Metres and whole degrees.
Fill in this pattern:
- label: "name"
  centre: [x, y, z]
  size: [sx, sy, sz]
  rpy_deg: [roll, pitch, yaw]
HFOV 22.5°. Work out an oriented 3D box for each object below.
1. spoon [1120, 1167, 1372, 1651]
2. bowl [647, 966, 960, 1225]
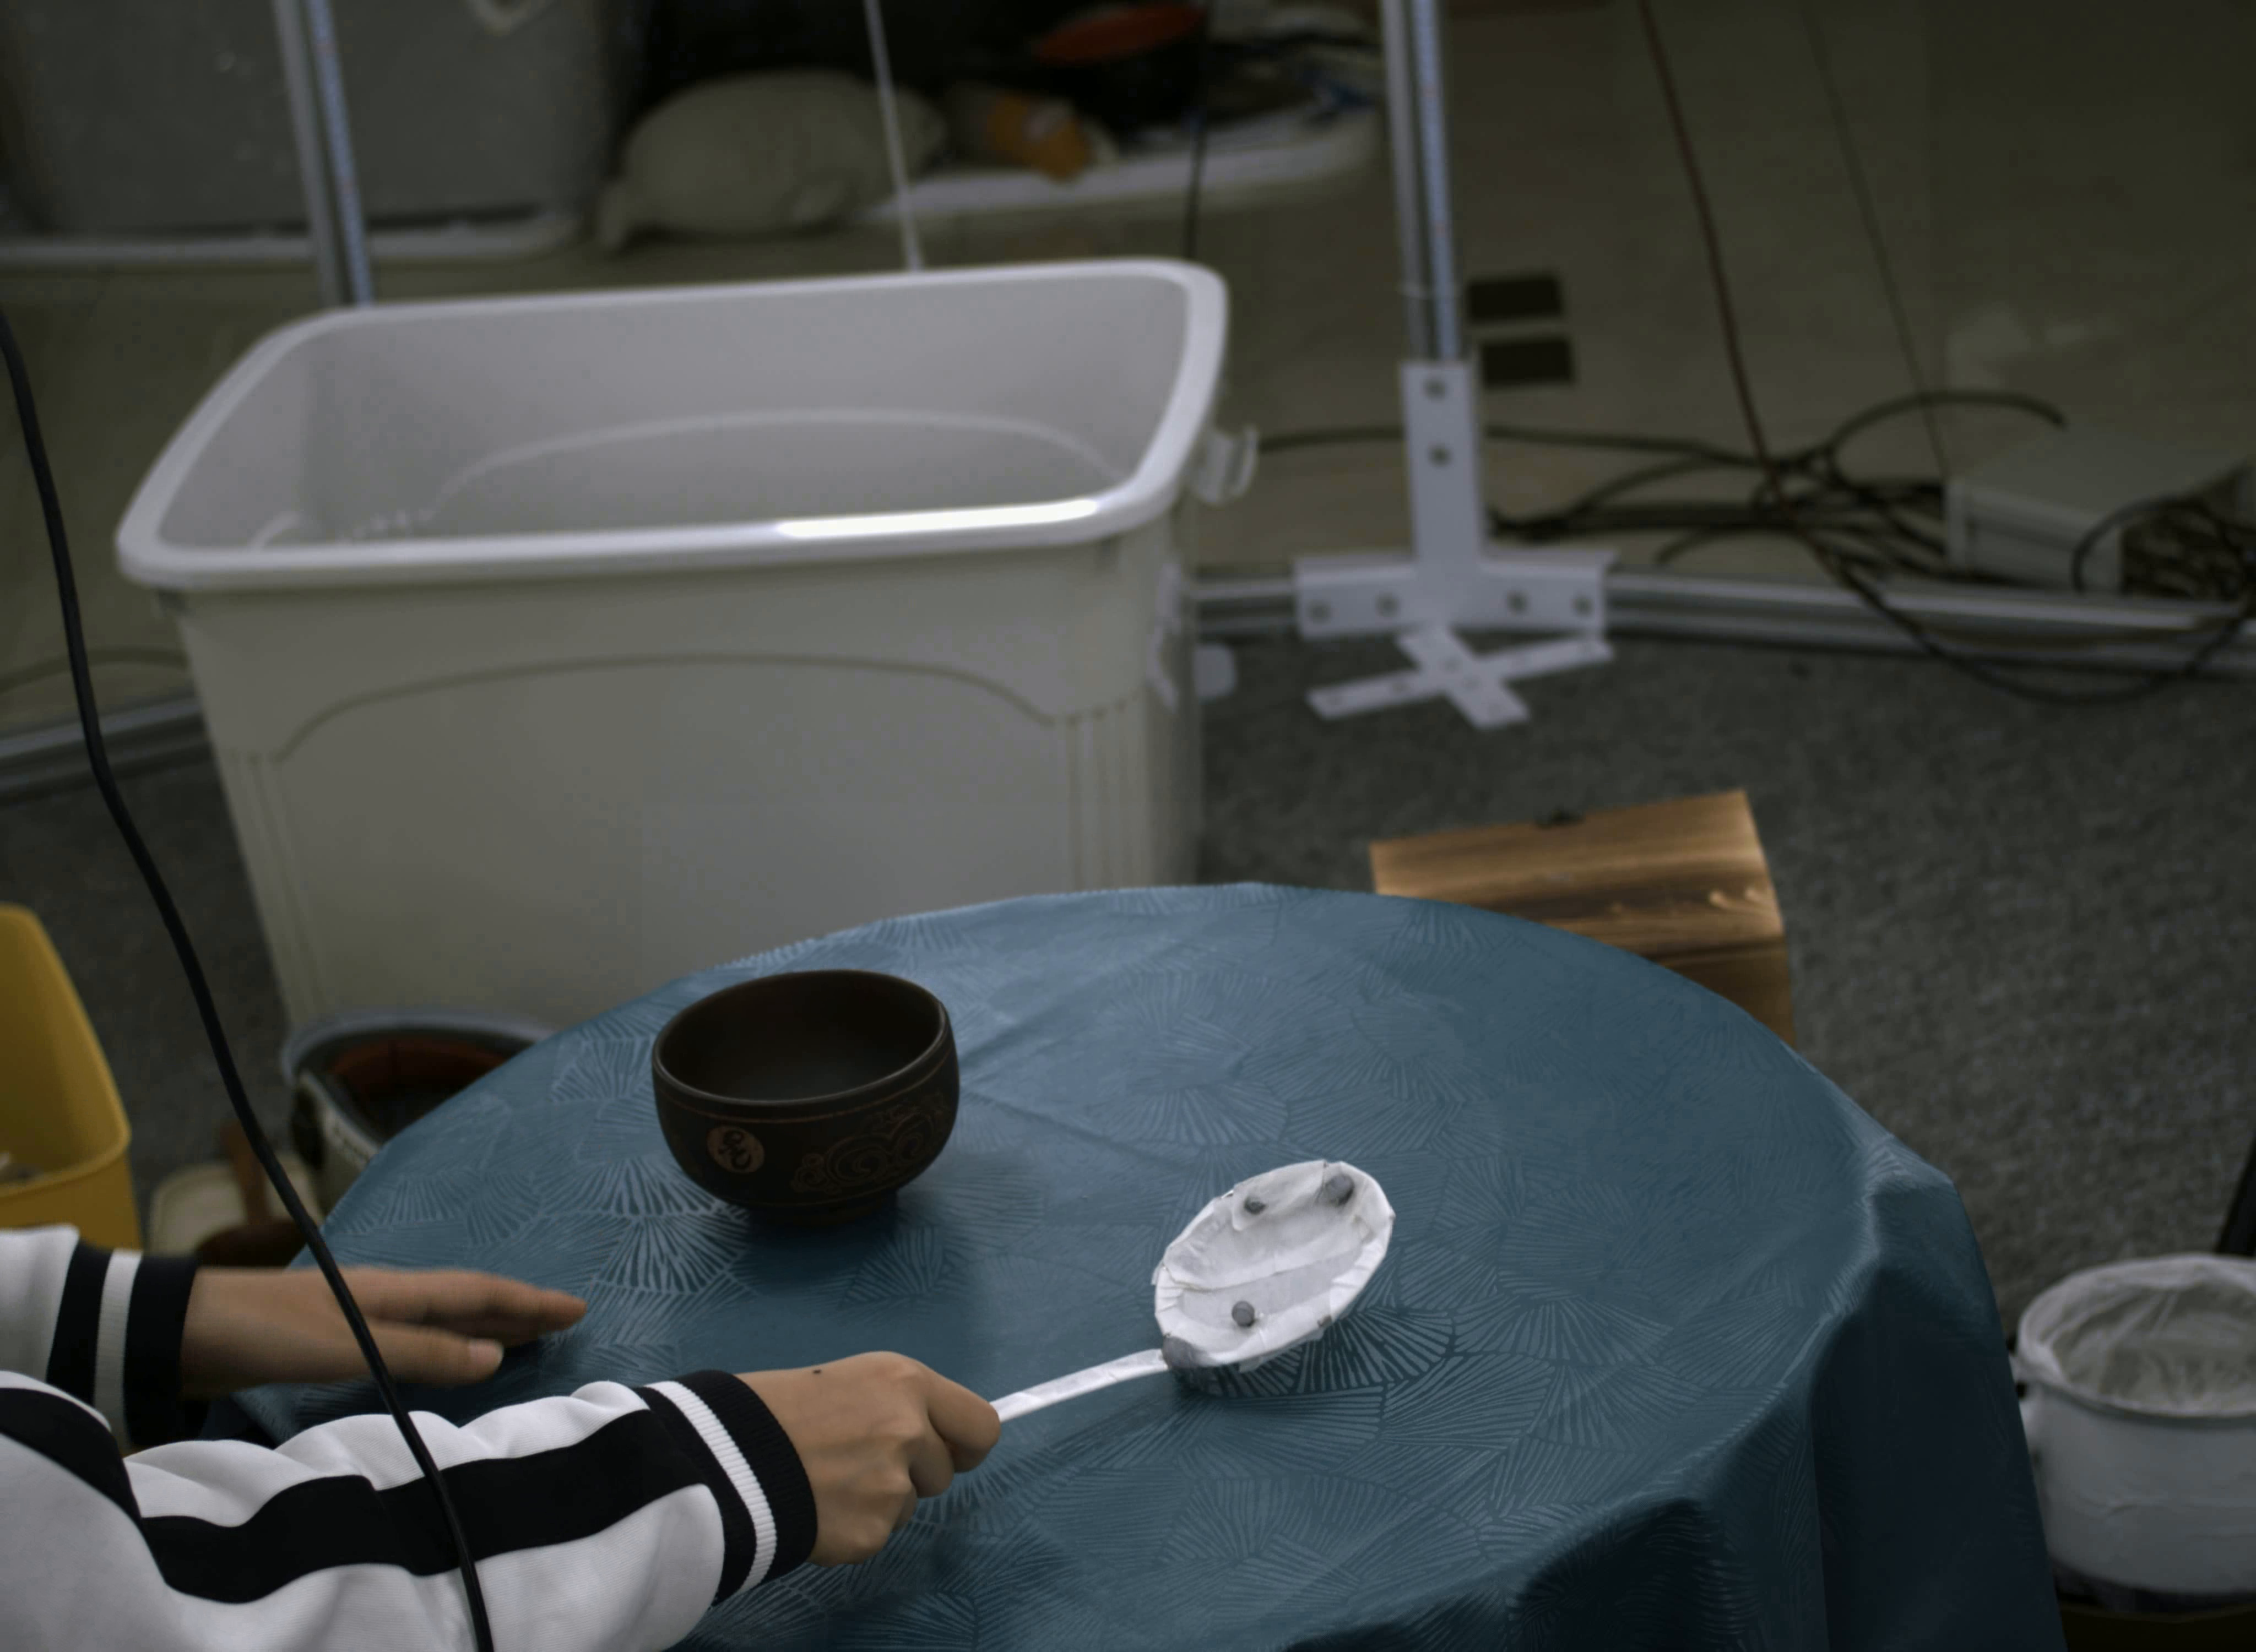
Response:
- label: "spoon"
  centre: [0.042, 0.248, 2.002]
  size: [0.101, 0.275, 0.060]
  rpy_deg: [-13, -21, 35]
- label: "bowl"
  centre: [-0.121, 0.108, 2.156]
  size: [0.118, 0.071, 0.116]
  rpy_deg: [-5, 25, 3]
